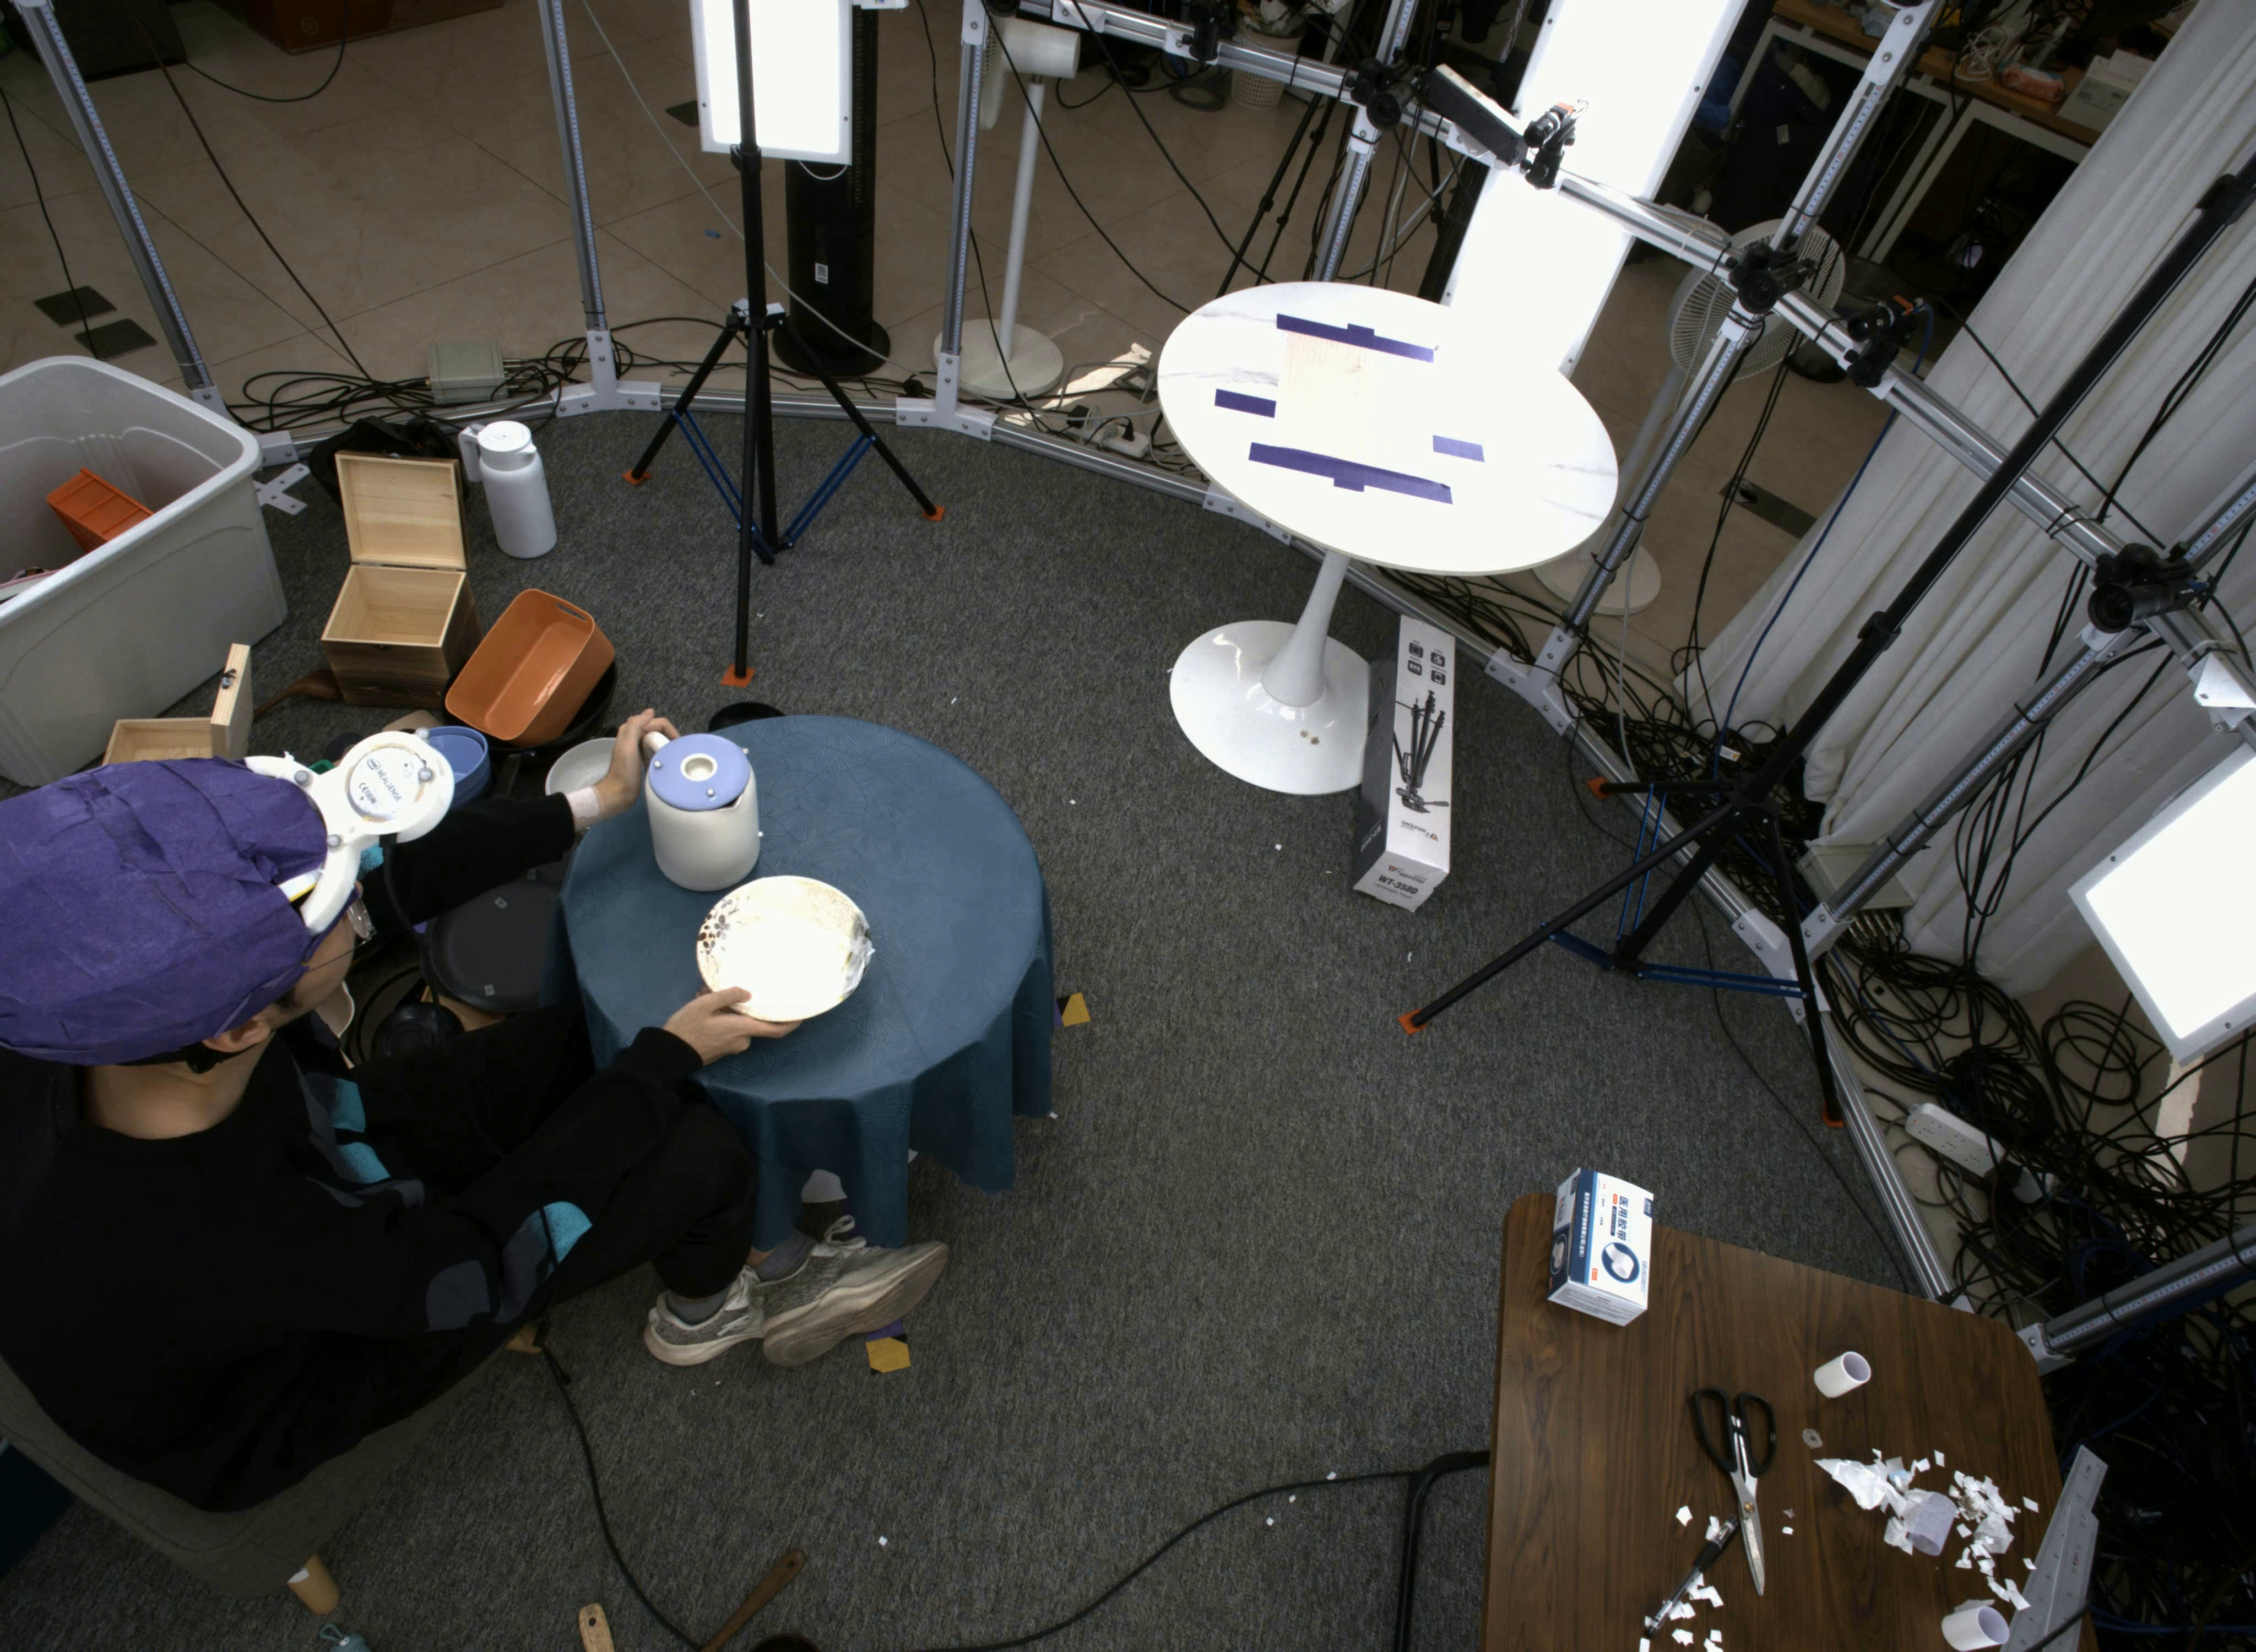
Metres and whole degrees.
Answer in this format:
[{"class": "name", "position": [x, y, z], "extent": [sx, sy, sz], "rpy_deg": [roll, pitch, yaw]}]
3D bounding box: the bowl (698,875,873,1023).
[{"class": "bowl", "position": [-0.409, 0.162, 1.562], "extent": [0.203, 0.079, 0.200], "rpy_deg": [7, 54, -7]}]

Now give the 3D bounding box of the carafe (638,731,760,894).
[{"class": "carafe", "position": [-0.548, -0.031, 1.610], "extent": [0.186, 0.187, 0.132], "rpy_deg": [37, 53, 18]}]
